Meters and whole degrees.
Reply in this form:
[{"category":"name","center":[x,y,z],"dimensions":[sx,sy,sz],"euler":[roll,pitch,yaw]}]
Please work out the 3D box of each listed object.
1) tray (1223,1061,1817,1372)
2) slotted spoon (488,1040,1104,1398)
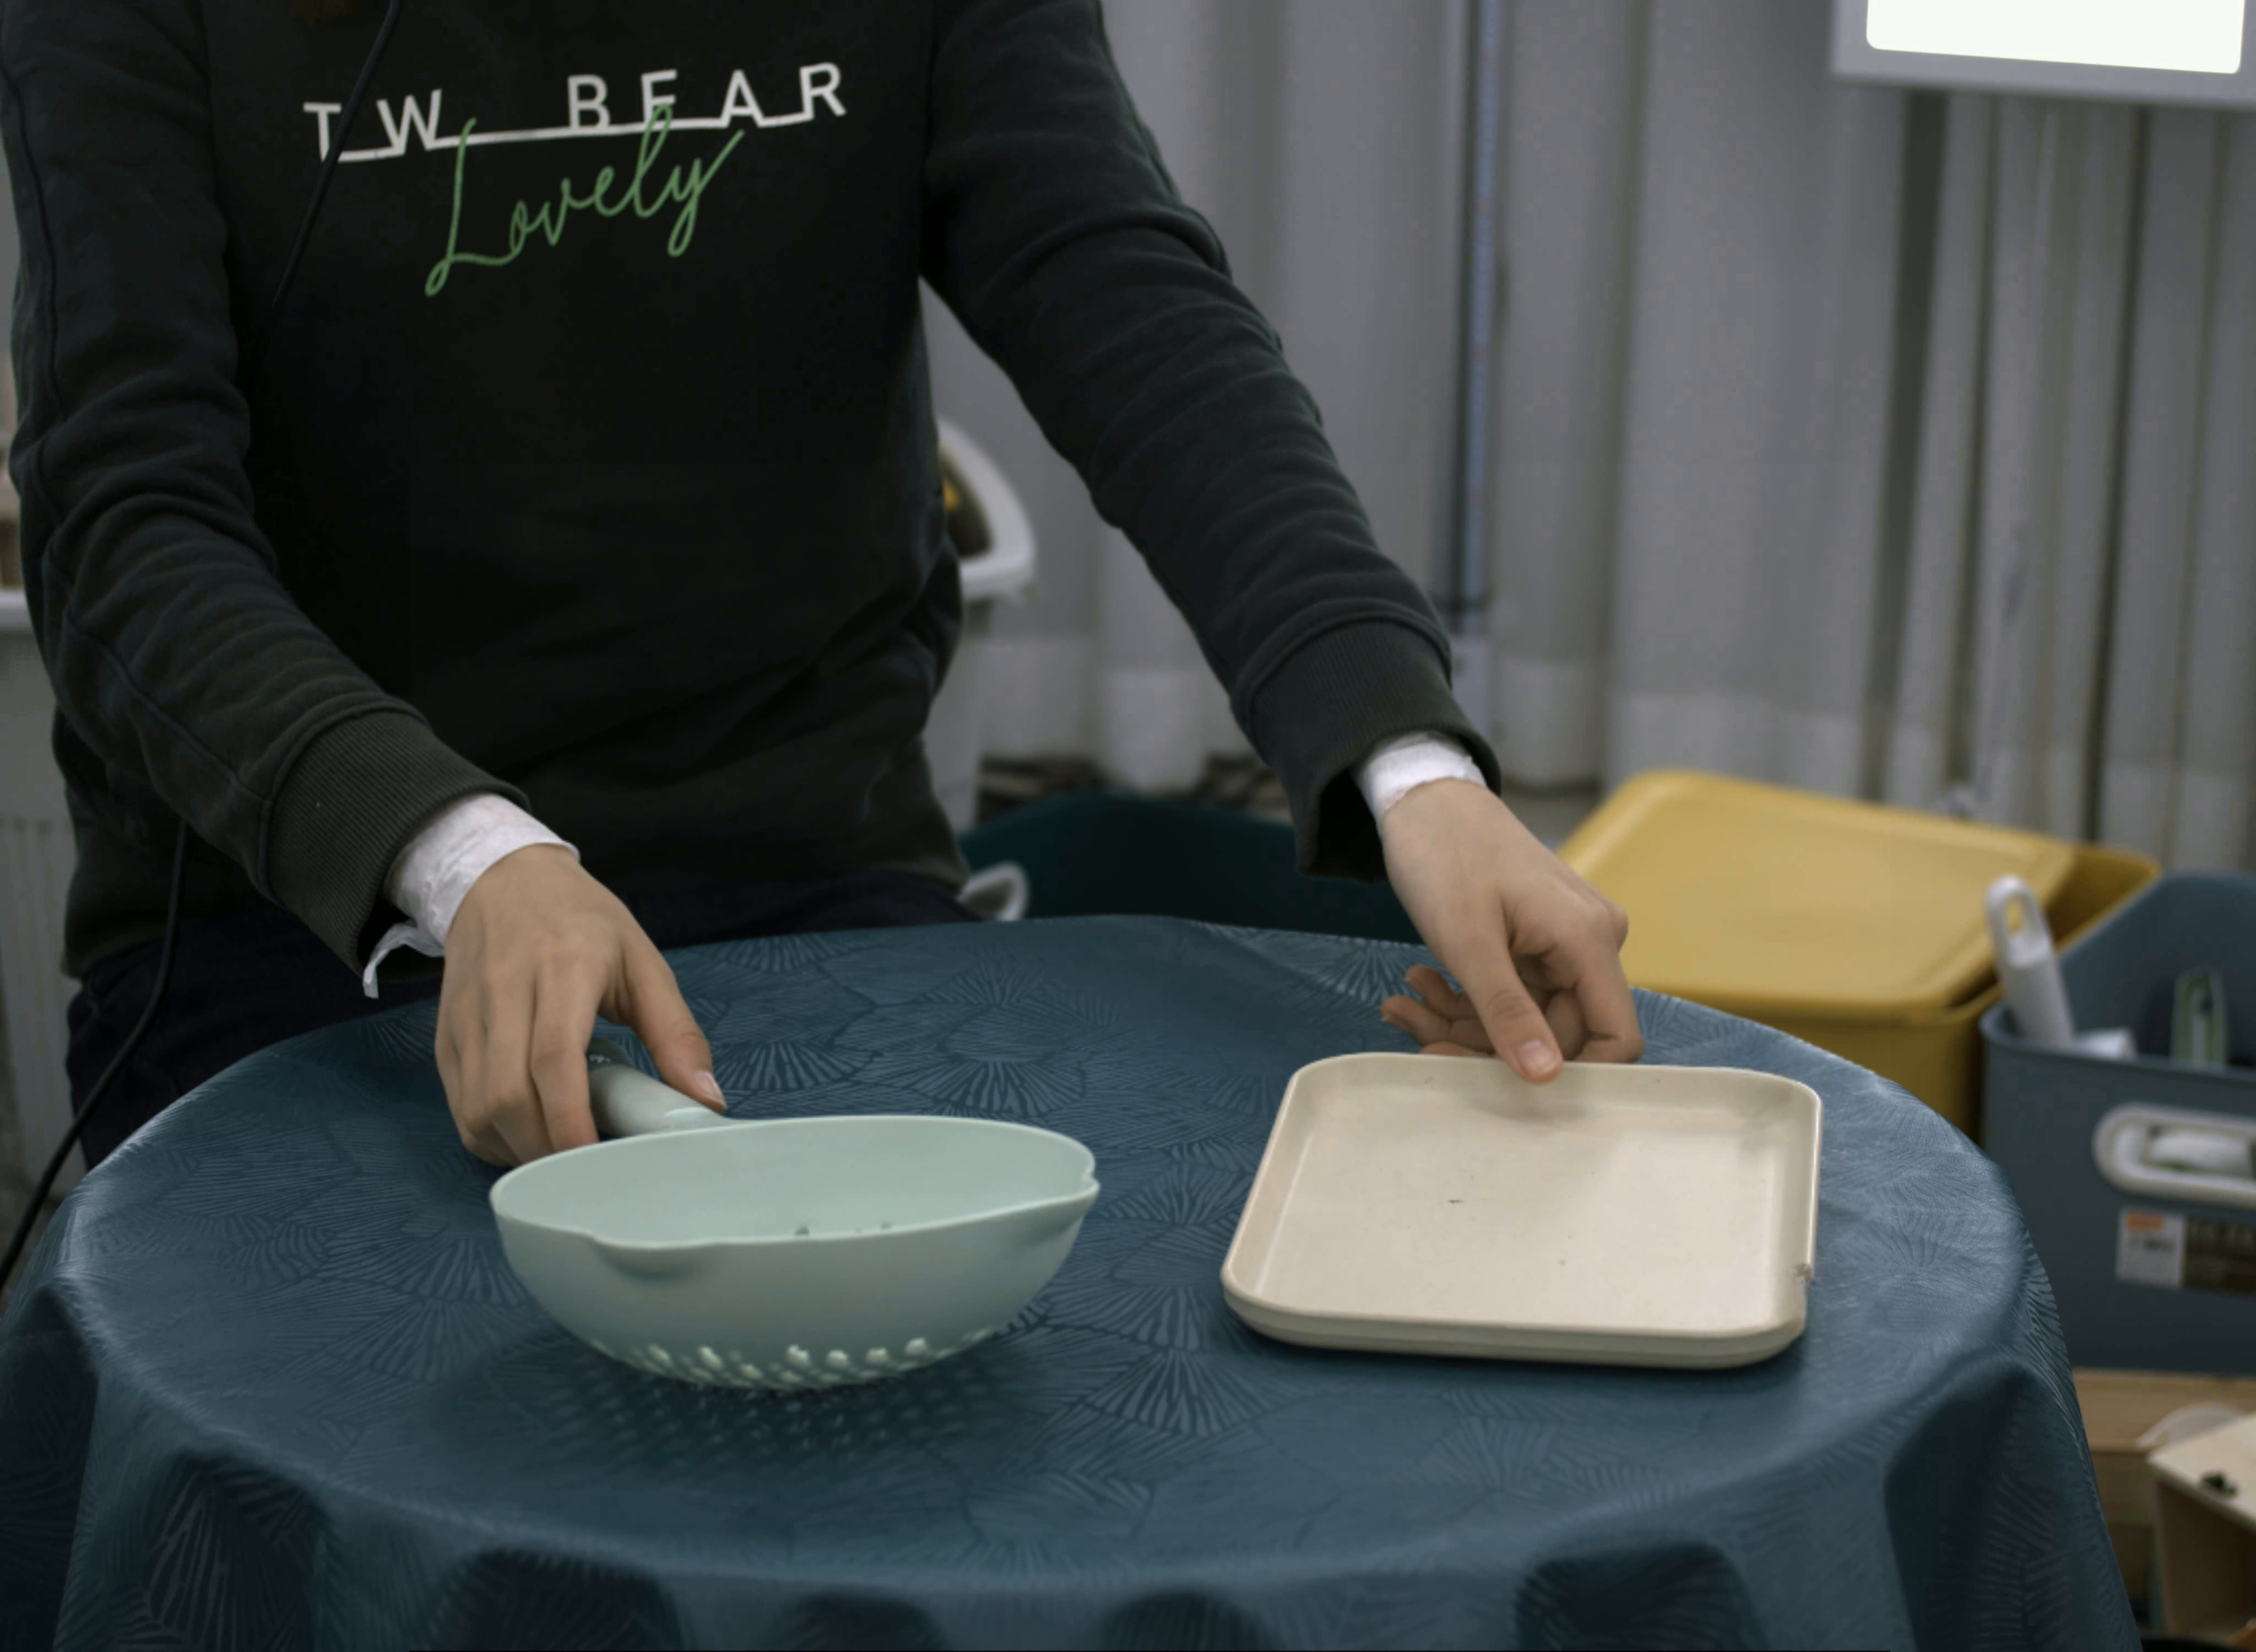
[{"category":"tray","center":[0.122,0.116,1.589],"dimensions":[0.170,0.017,0.239],"euler":[3,15,7]},{"category":"slotted spoon","center":[-0.125,0.099,1.553],"dimensions":[0.170,0.076,0.355],"euler":[-4,16,-20]}]
